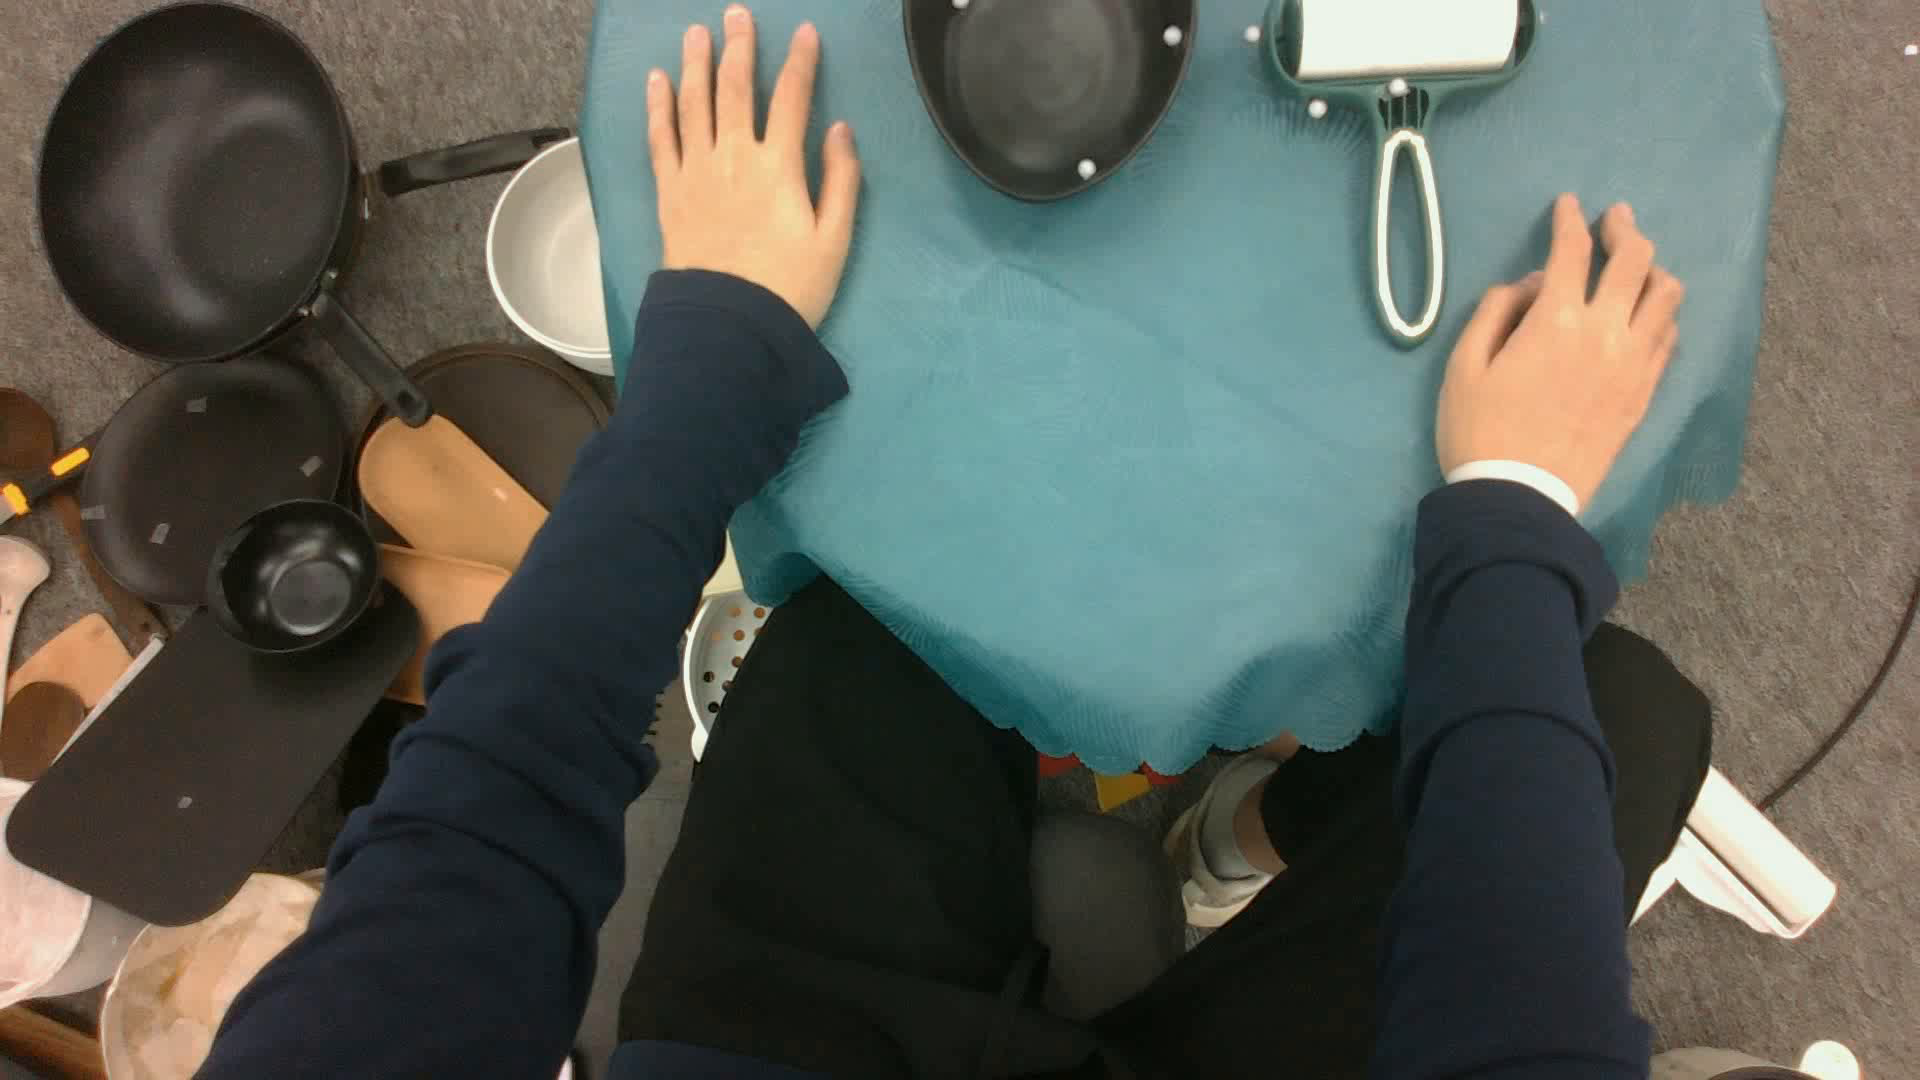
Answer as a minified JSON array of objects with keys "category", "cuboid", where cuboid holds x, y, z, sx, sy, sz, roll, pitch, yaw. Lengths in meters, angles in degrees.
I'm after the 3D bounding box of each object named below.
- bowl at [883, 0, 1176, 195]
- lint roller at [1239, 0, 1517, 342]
[{"category":"bowl","cuboid":[0.033,-0.245,0.672,0.137,0.066,0.170,1,82,1]},{"category":"lint roller","cuboid":[0.207,-0.190,0.674,0.134,0.048,0.180,-2,86,0]}]
